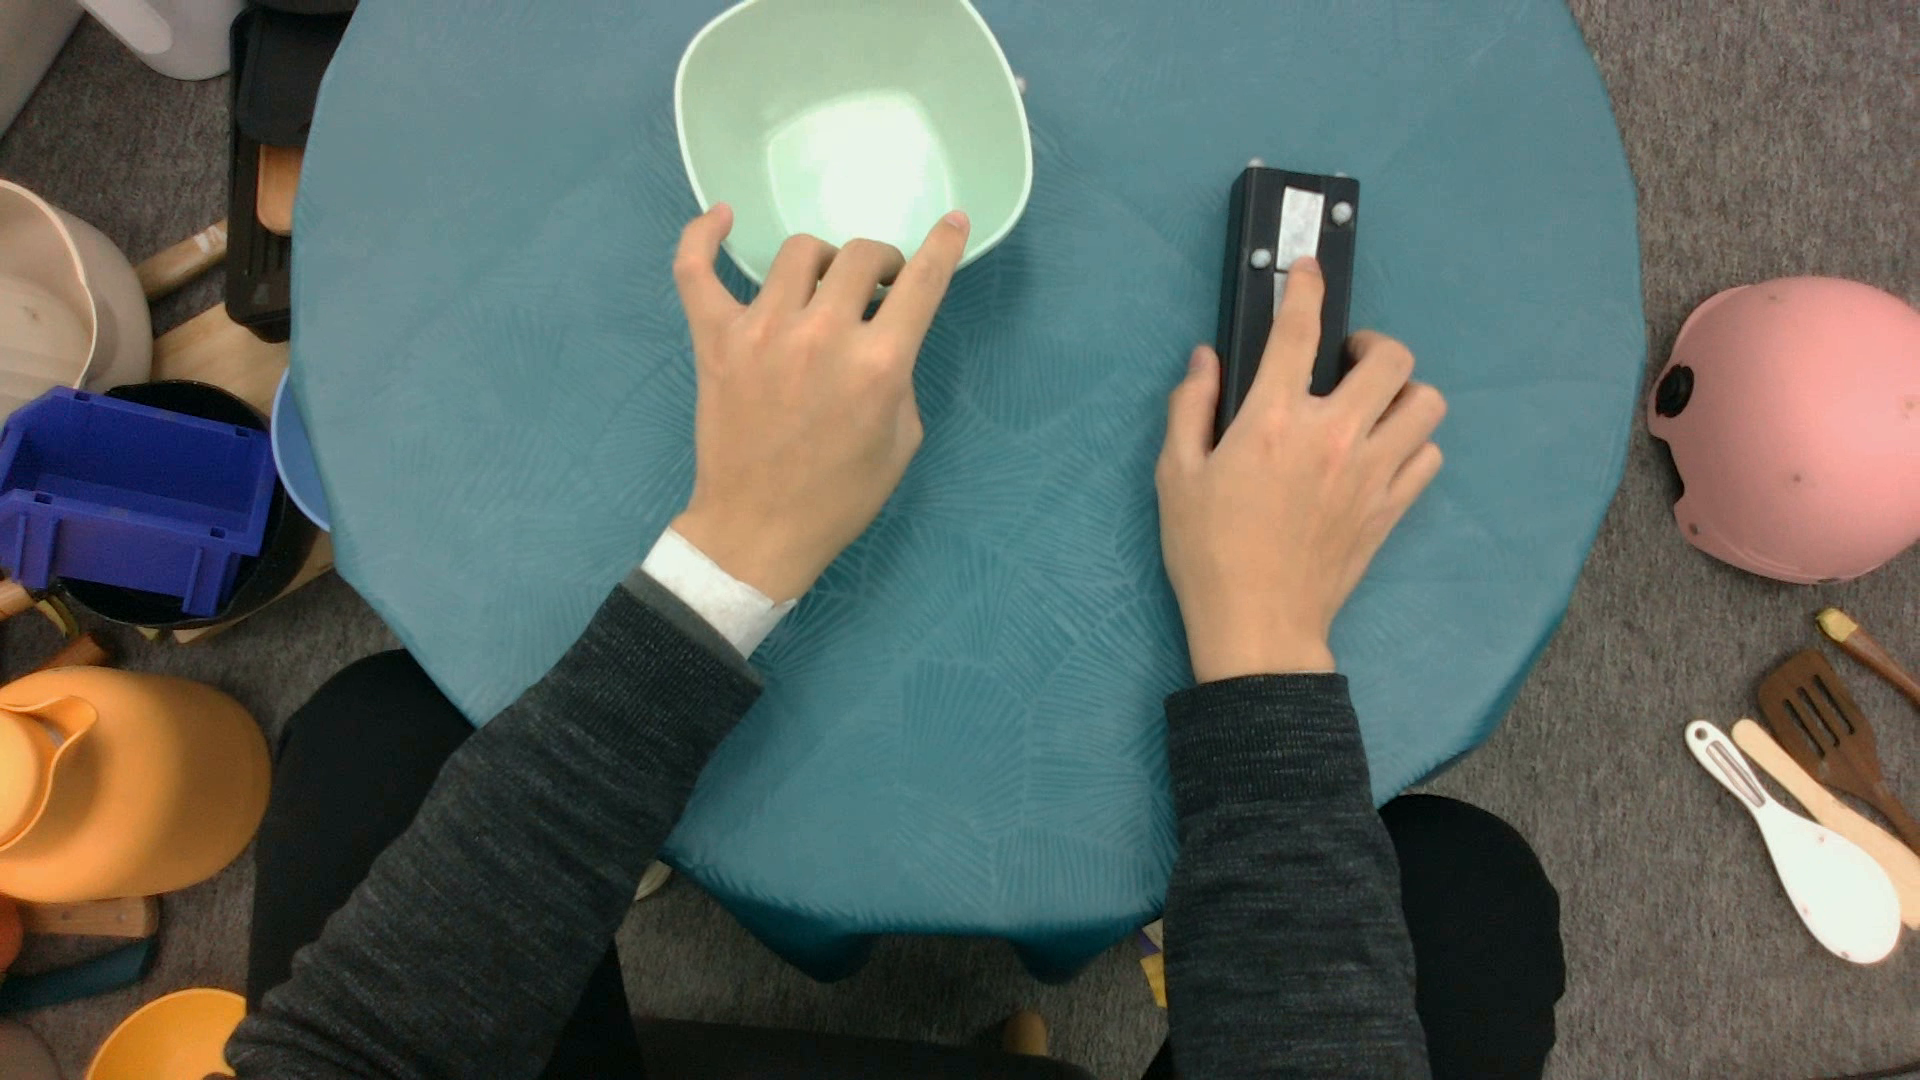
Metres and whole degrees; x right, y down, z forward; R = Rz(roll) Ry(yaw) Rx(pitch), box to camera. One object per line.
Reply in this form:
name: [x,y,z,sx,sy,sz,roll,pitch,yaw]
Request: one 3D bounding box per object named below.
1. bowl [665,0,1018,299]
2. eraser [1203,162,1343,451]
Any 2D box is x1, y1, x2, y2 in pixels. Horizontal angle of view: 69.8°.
bowl: [-0.049,-0.163,0.589,0.151,0.058,0.151,1,78,-2]
eraser: [0.136,-0.102,0.601,0.053,0.030,0.126,5,80,1]
